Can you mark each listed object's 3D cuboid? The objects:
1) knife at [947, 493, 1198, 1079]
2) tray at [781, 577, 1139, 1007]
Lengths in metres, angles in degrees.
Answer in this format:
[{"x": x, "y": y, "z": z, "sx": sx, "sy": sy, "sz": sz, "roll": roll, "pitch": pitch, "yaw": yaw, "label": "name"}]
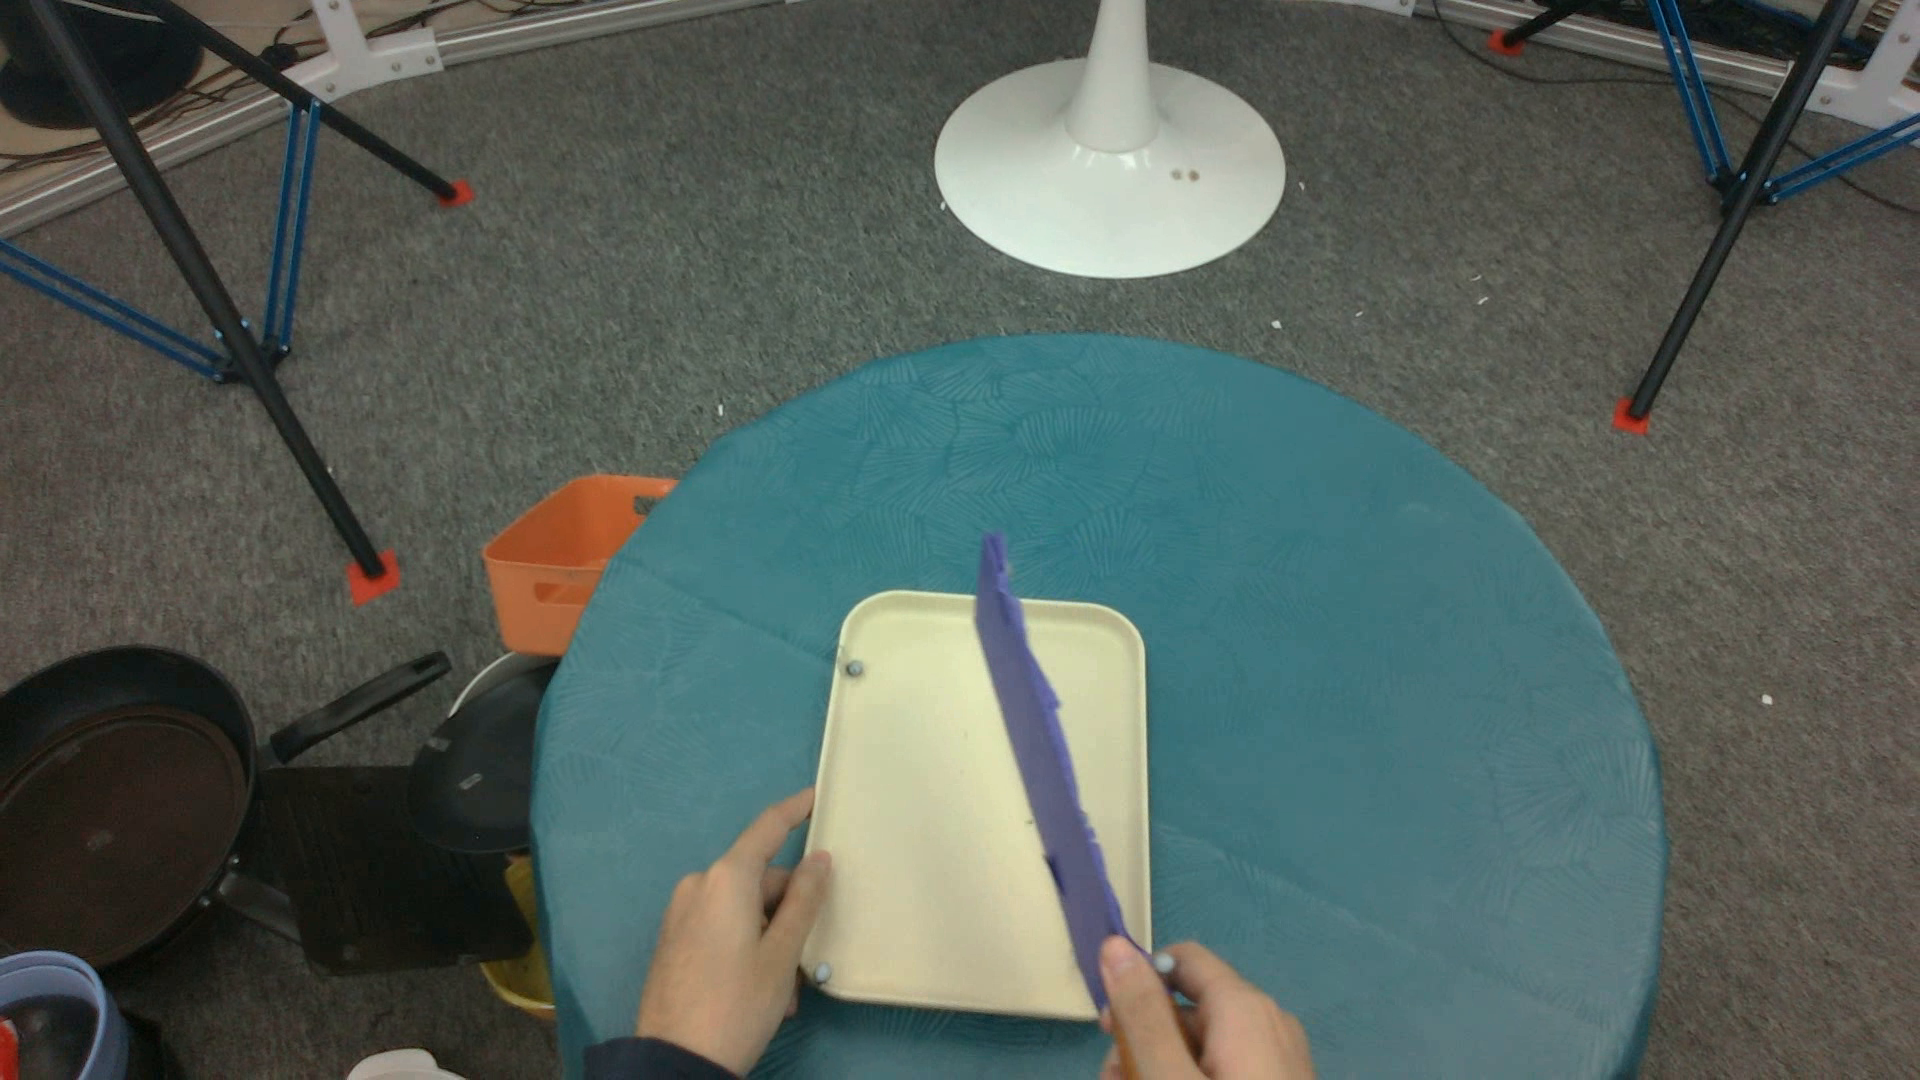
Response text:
[{"x": 0.045, "y": 0.131, "z": 0.589, "sx": 0.032, "sy": 0.103, "sz": 0.316, "roll": -11, "pitch": 58, "yaw": -10, "label": "knife"}, {"x": 0.004, "y": 0.121, "z": 0.710, "sx": 0.171, "sy": 0.017, "sz": 0.241, "roll": 3, "pitch": 51, "yaw": 2, "label": "tray"}]
